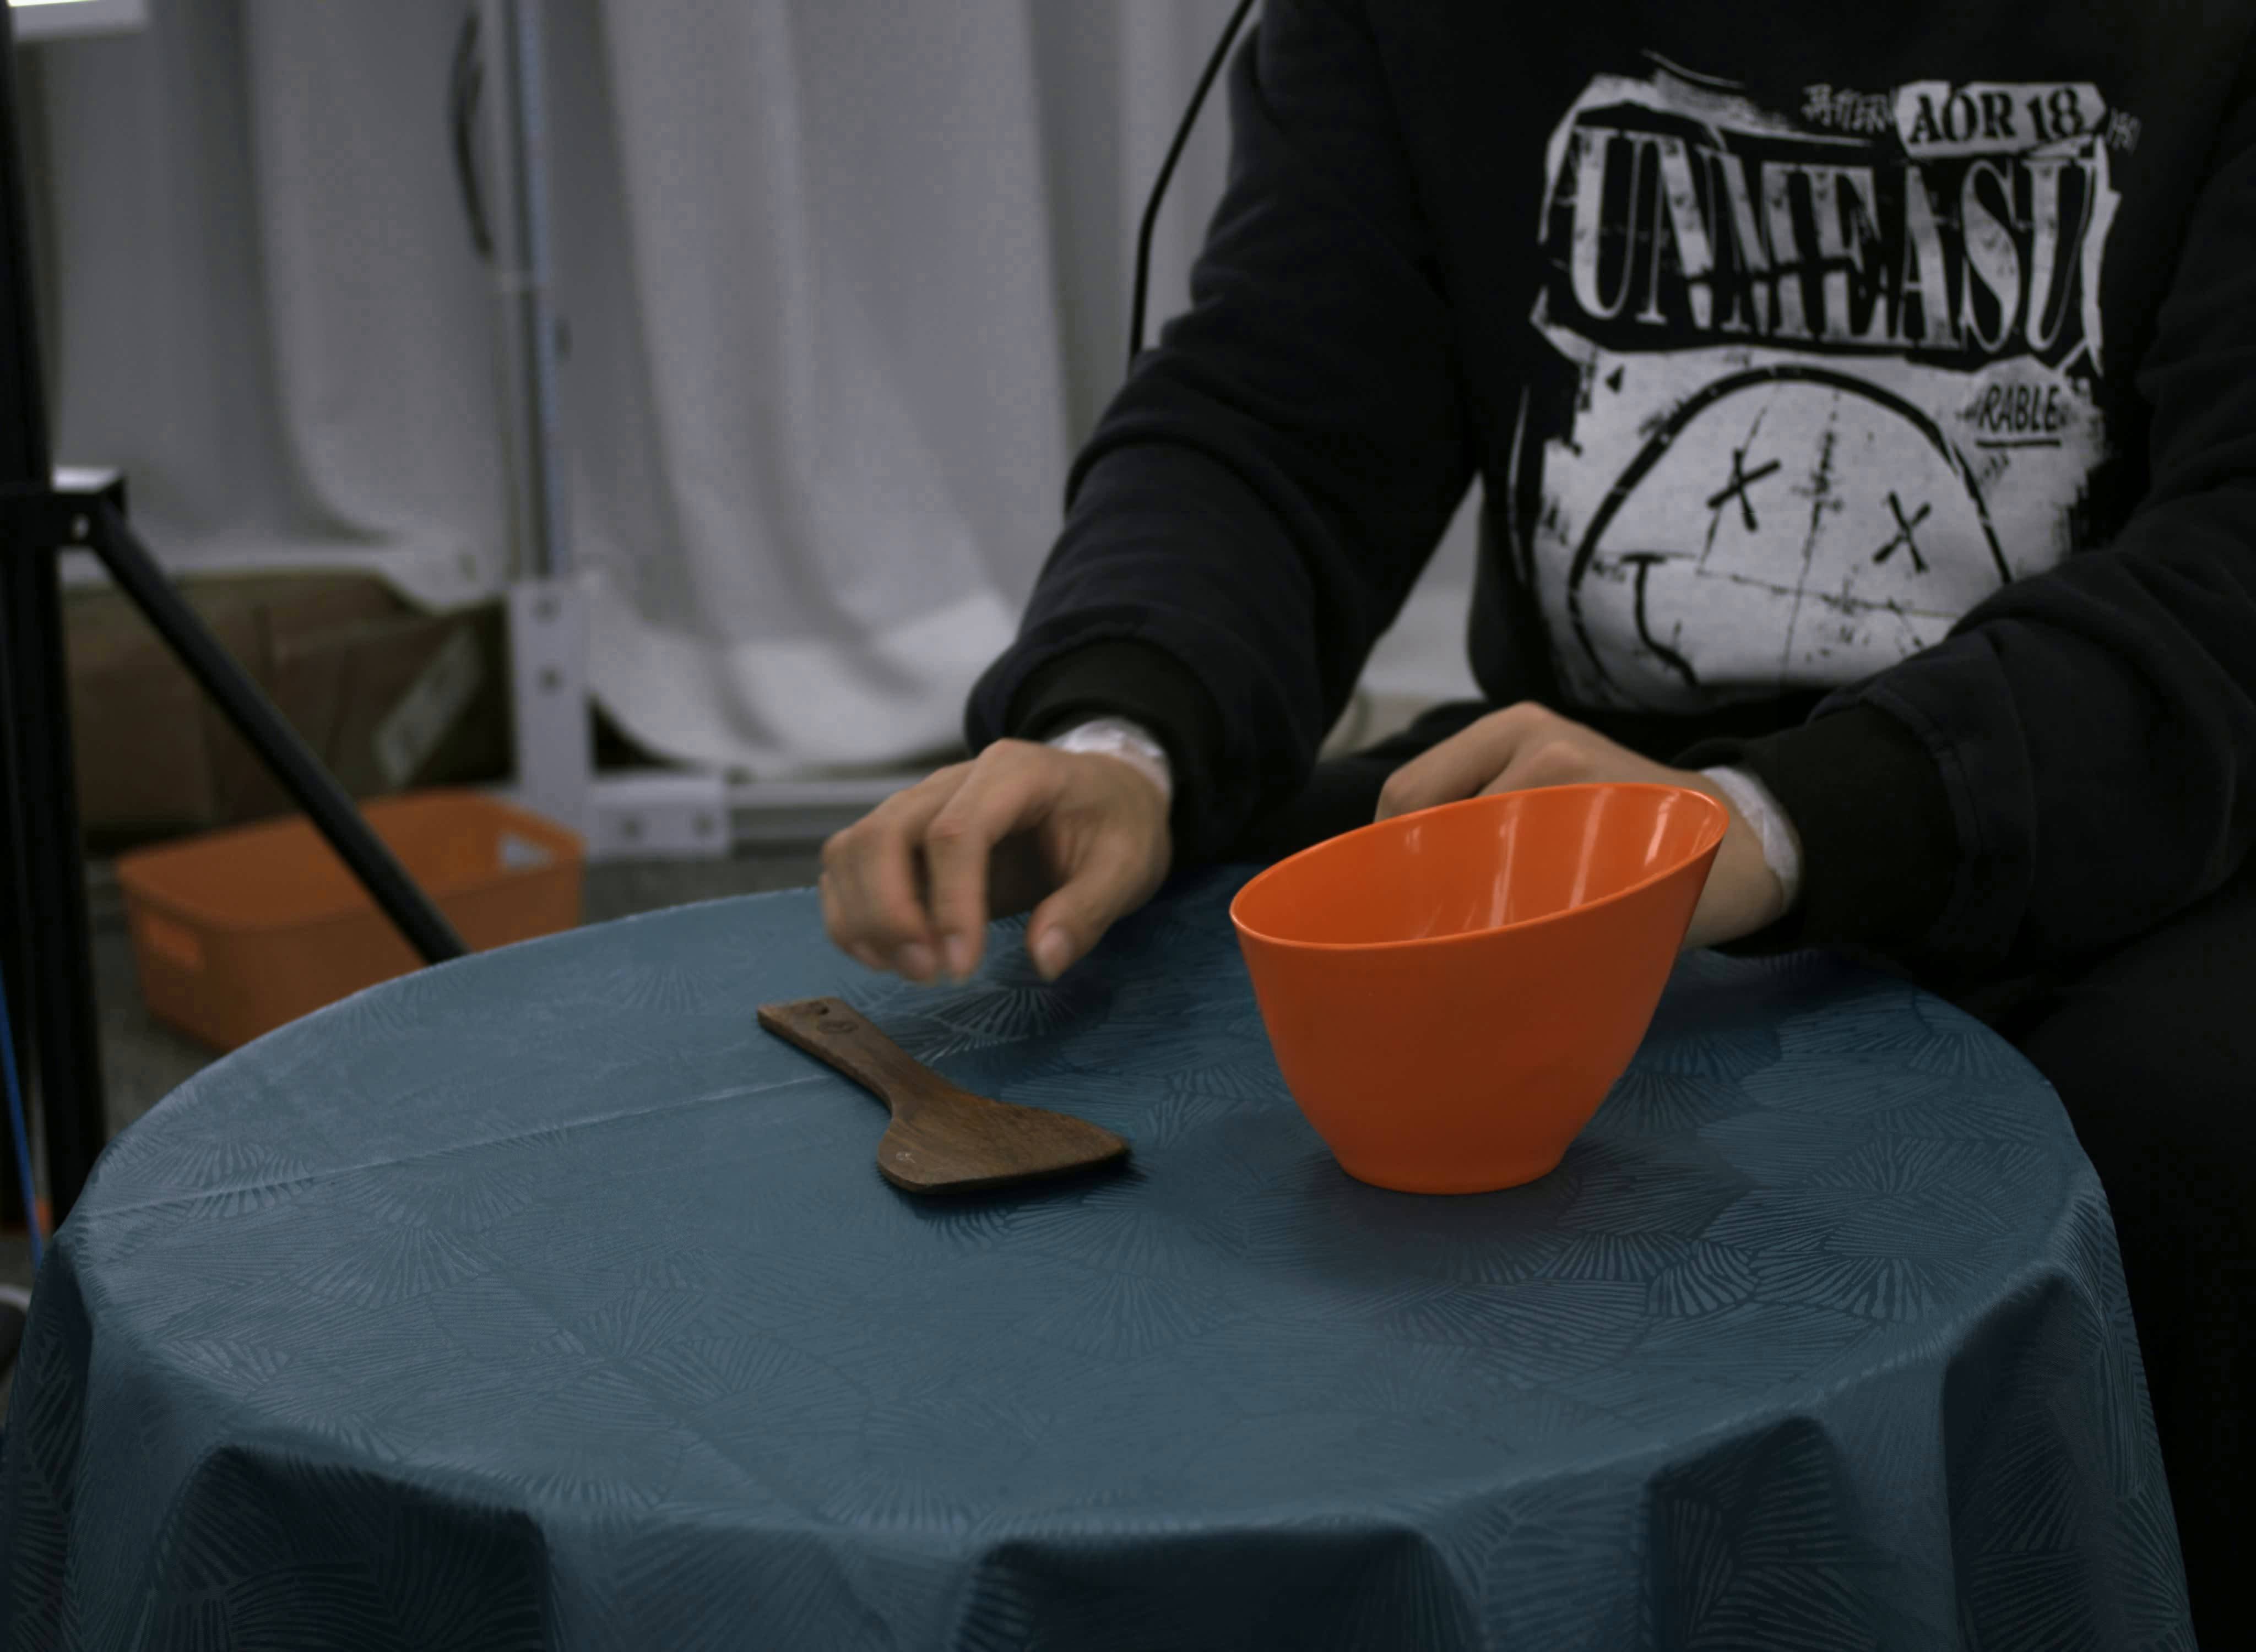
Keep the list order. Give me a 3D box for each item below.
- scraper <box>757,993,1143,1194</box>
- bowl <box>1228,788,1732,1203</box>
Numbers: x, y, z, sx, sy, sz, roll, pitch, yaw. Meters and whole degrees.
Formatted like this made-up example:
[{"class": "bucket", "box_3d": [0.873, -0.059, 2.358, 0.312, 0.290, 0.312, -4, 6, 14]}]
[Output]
[{"class": "scraper", "box_3d": [-0.067, 0.082, 1.648, 0.074, 0.011, 0.215, -8, 16, -22]}, {"class": "bowl", "box_3d": [0.103, 0.051, 1.556, 0.147, 0.104, 0.149, -3, 16, -1]}]
